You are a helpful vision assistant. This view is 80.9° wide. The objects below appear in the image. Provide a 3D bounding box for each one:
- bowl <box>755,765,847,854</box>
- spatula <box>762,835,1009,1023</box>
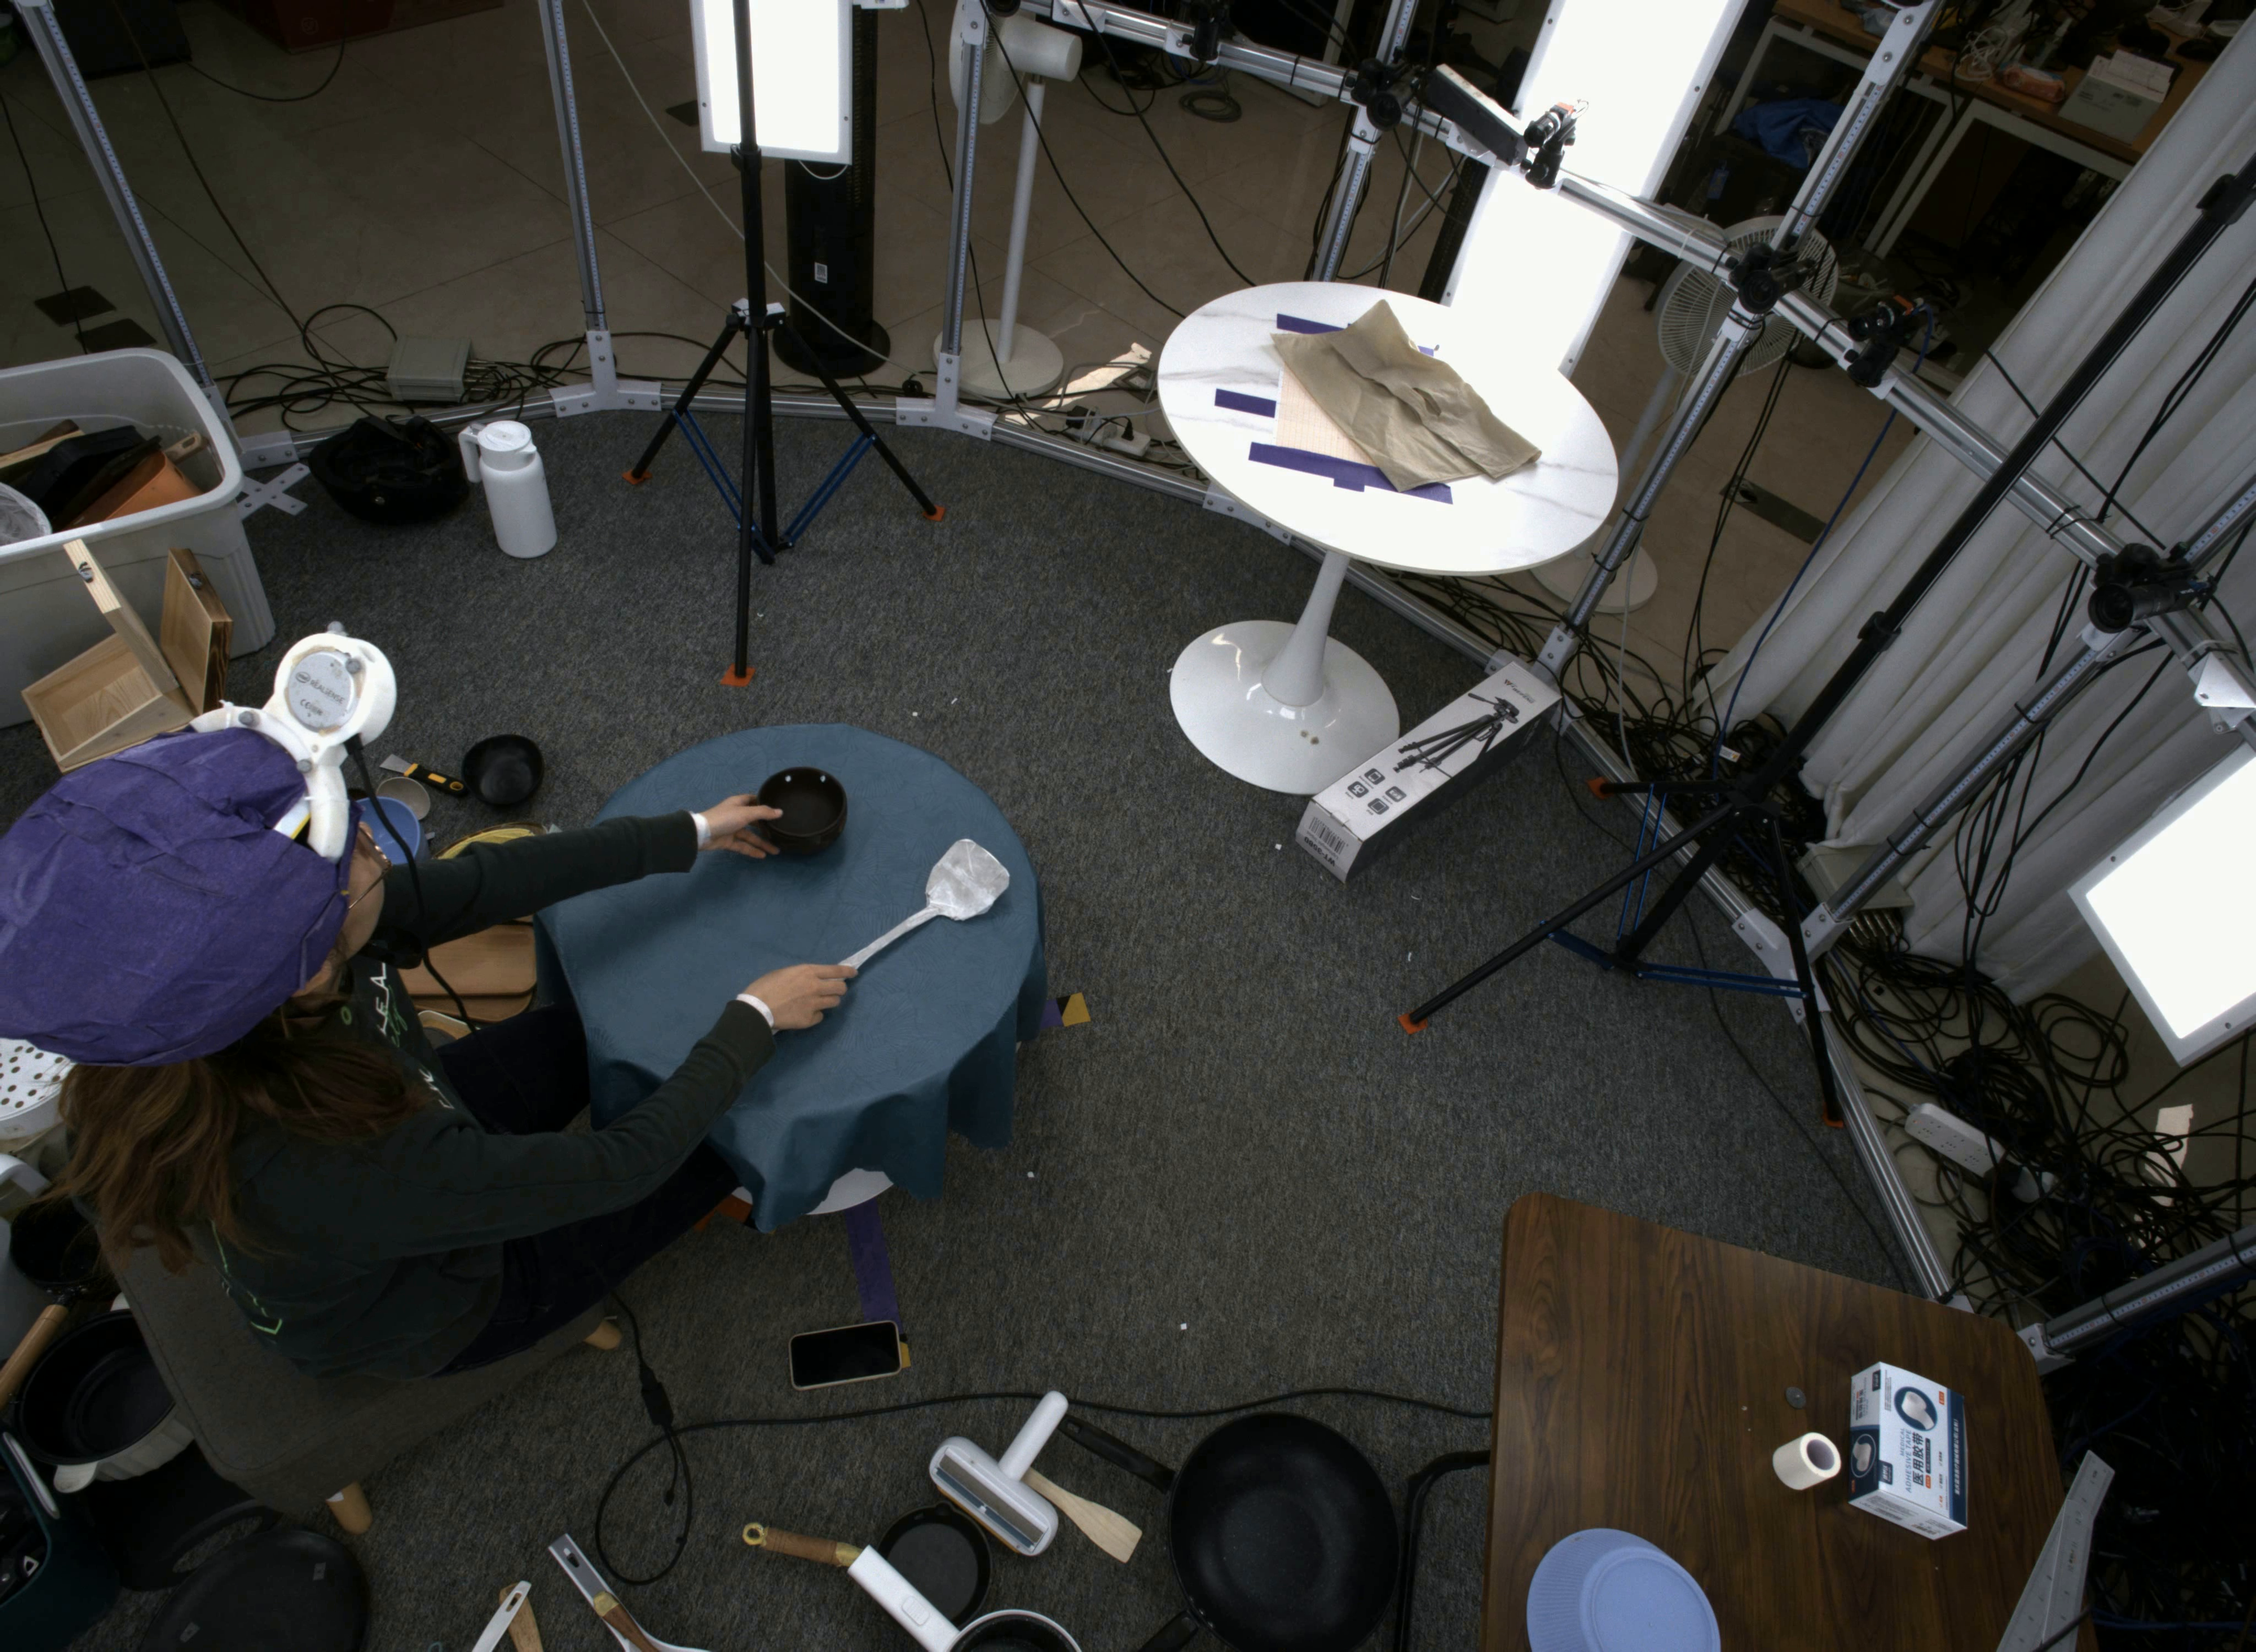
[{"bbox_3d":[-0.426,-0.014,1.693,0.117,0.071,0.116,6,52,-6],"label":"bowl"},{"bbox_3d":[-0.305,0.135,1.634,0.097,0.045,0.366,43,55,16],"label":"spatula"}]
